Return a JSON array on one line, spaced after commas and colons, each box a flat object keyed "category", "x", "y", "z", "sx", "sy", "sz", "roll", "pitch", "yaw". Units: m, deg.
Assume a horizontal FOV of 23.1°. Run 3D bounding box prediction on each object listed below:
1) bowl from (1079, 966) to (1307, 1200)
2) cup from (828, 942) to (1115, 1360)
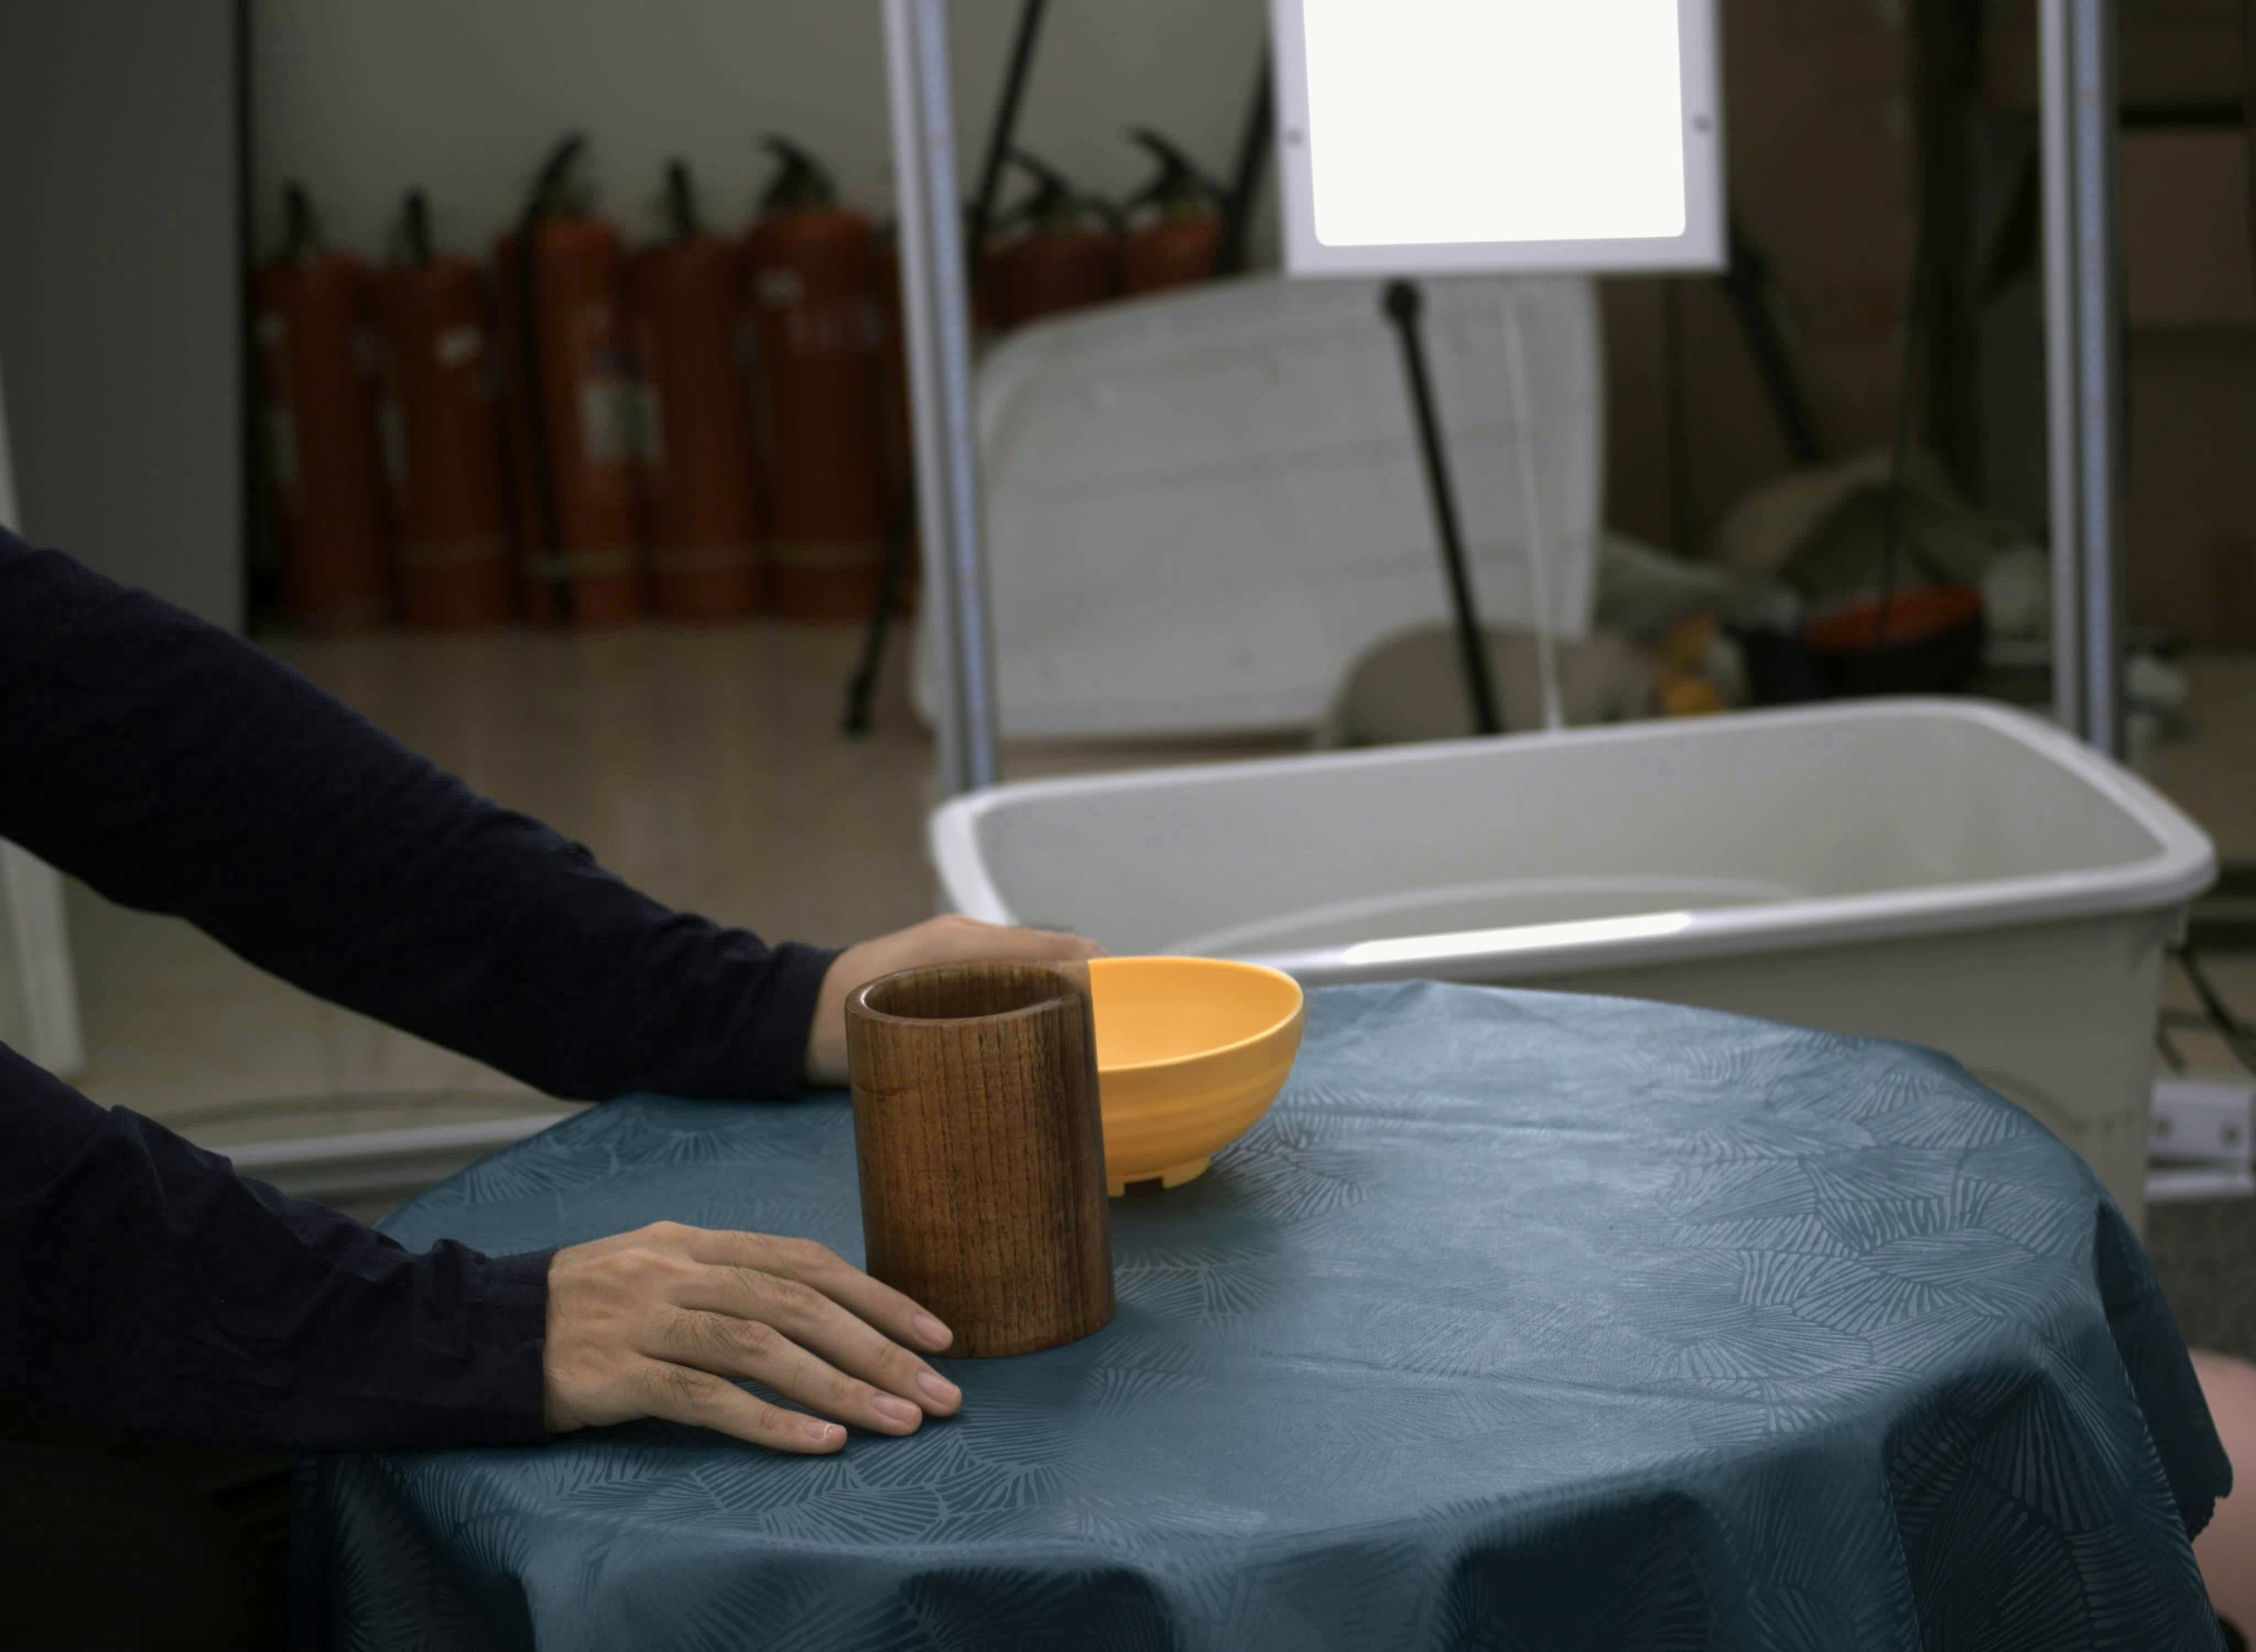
[{"category": "bowl", "x": -0.006, "y": 0.093, "z": 1.918, "sx": 0.145, "sy": 0.060, "sz": 0.145, "roll": -6, "pitch": 12, "yaw": 0}, {"category": "cup", "x": -0.049, "y": 0.103, "z": 1.765, "sx": 0.087, "sy": 0.119, "sz": 0.087, "roll": -5, "pitch": 12, "yaw": 0}]
